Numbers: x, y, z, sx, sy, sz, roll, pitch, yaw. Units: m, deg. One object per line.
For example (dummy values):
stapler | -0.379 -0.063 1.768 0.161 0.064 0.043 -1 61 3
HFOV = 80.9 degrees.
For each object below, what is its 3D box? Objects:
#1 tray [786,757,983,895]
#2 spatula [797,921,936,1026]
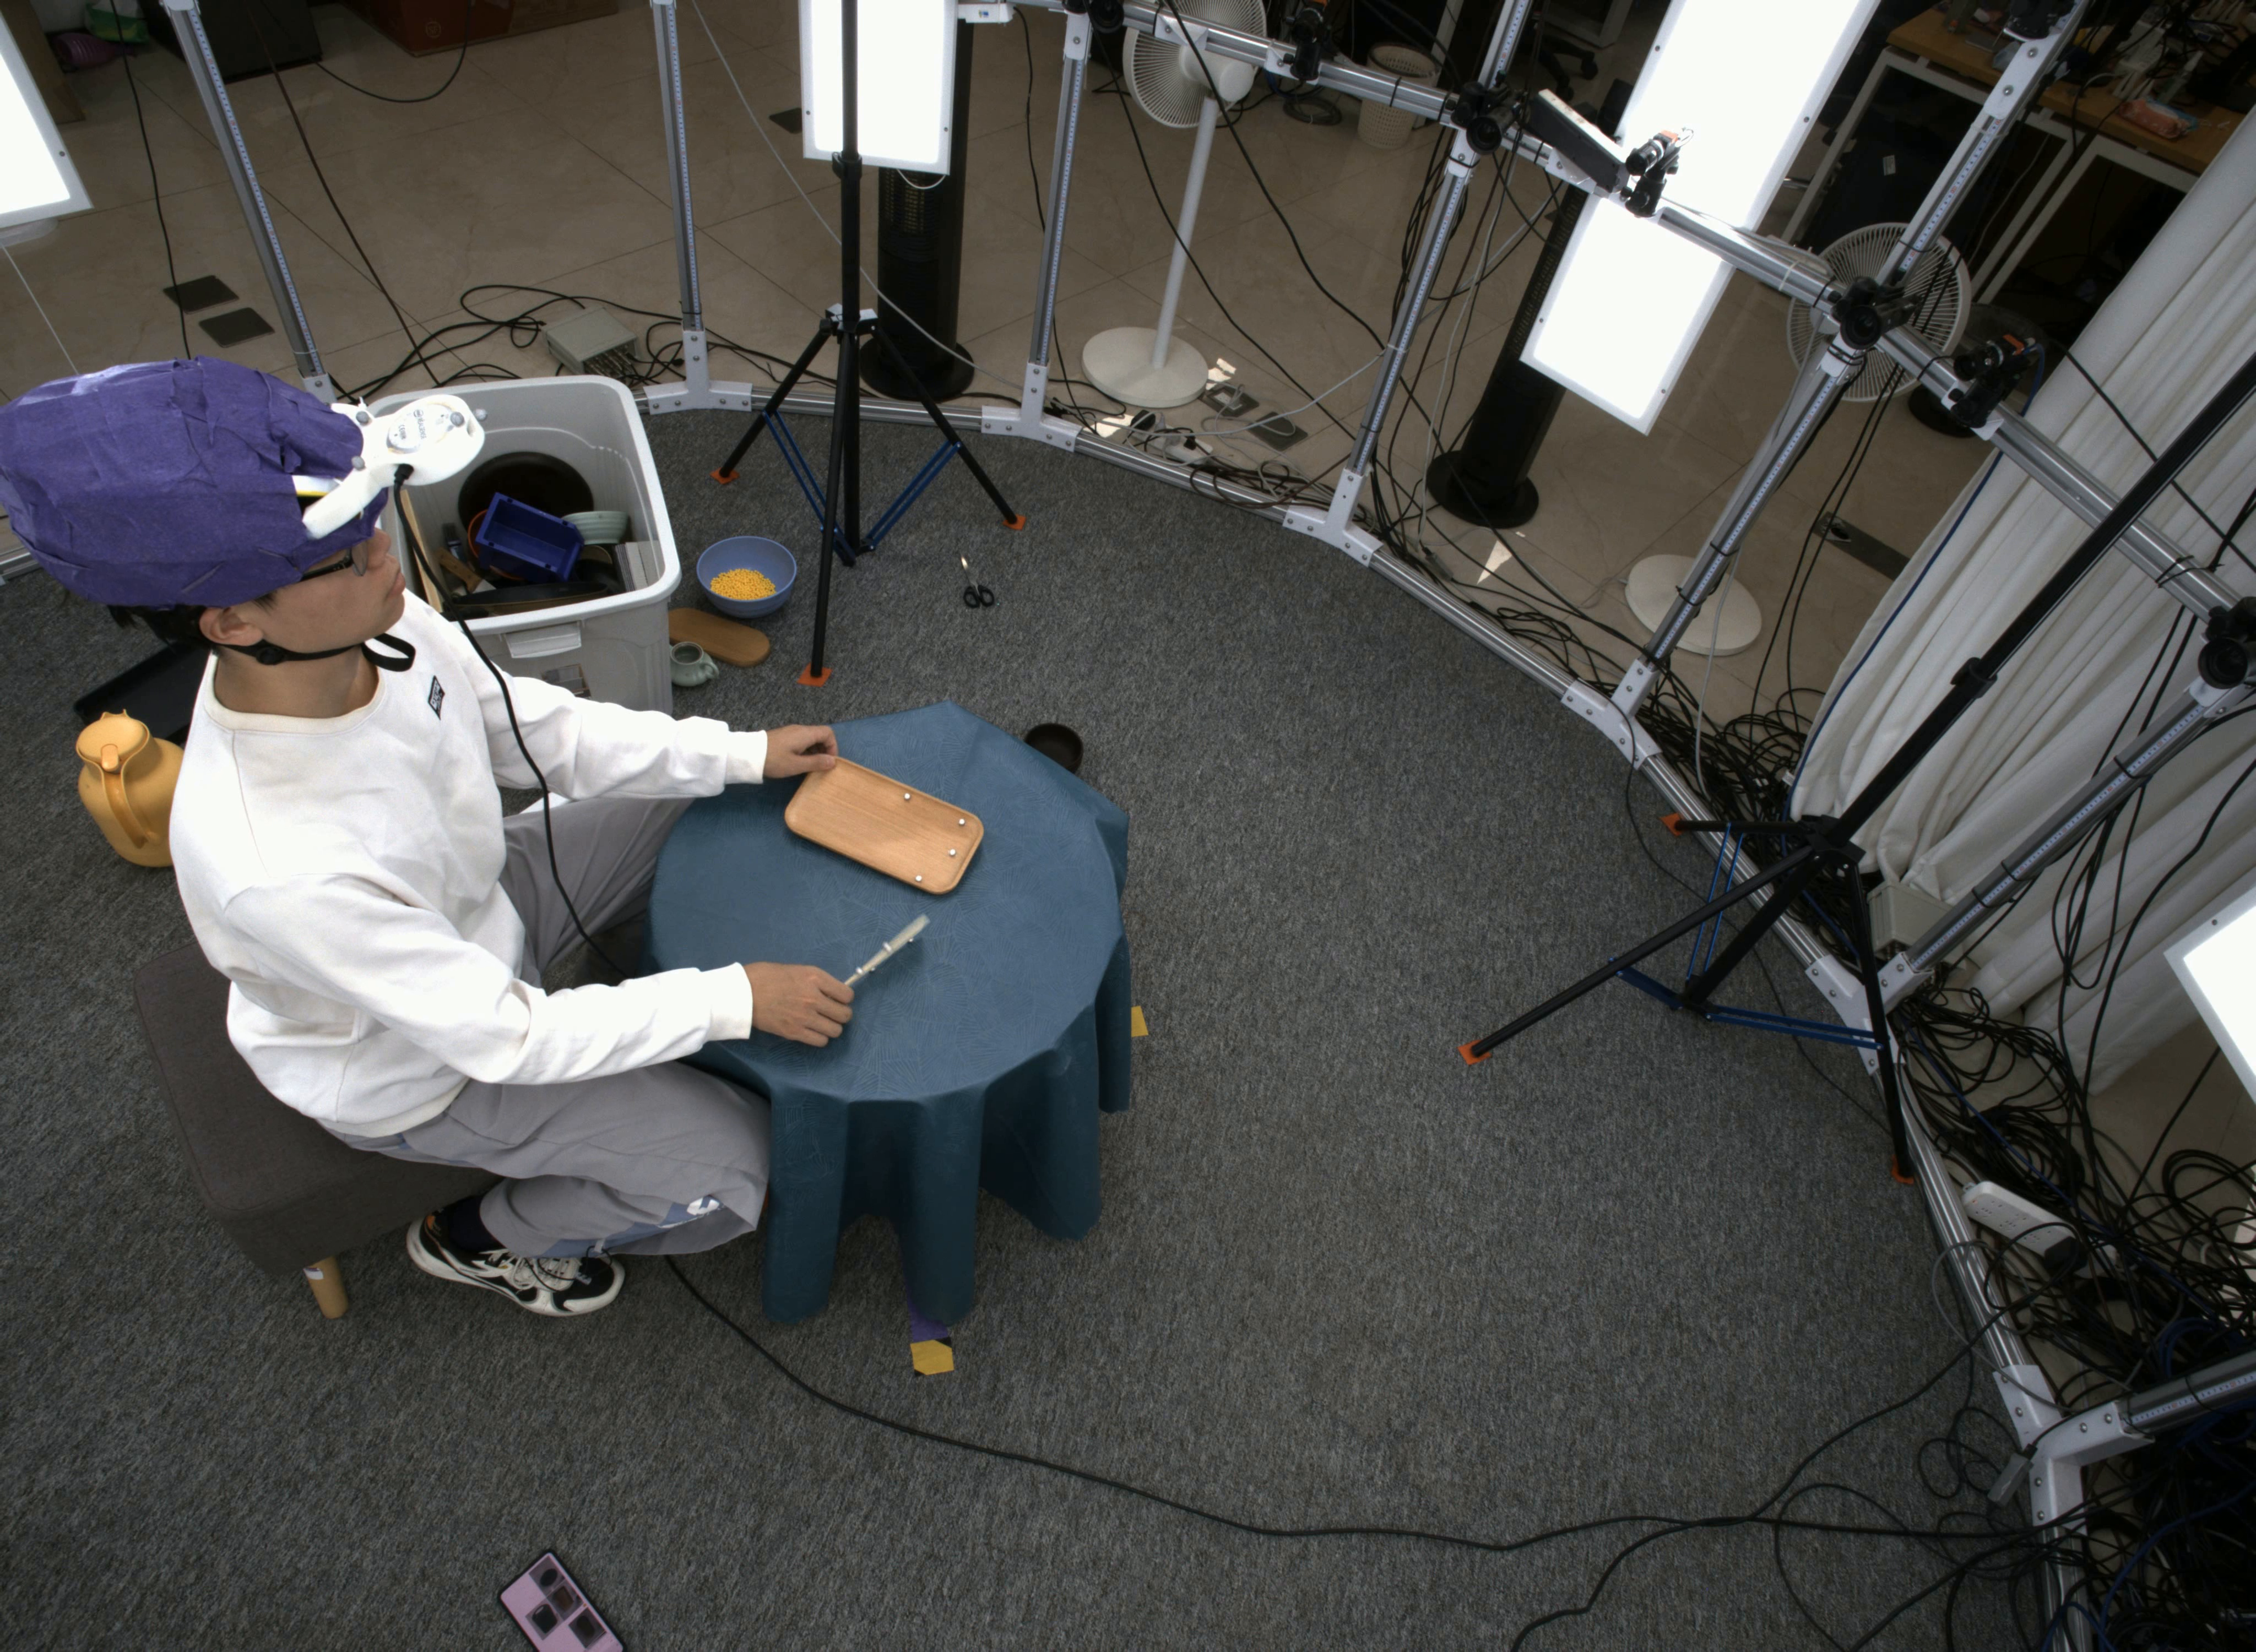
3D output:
tray | -0.324 -0.001 1.735 0.248 0.023 0.130 23 58 3
spatula | -0.322 0.179 1.600 0.208 0.050 0.005 -37 92 -25
